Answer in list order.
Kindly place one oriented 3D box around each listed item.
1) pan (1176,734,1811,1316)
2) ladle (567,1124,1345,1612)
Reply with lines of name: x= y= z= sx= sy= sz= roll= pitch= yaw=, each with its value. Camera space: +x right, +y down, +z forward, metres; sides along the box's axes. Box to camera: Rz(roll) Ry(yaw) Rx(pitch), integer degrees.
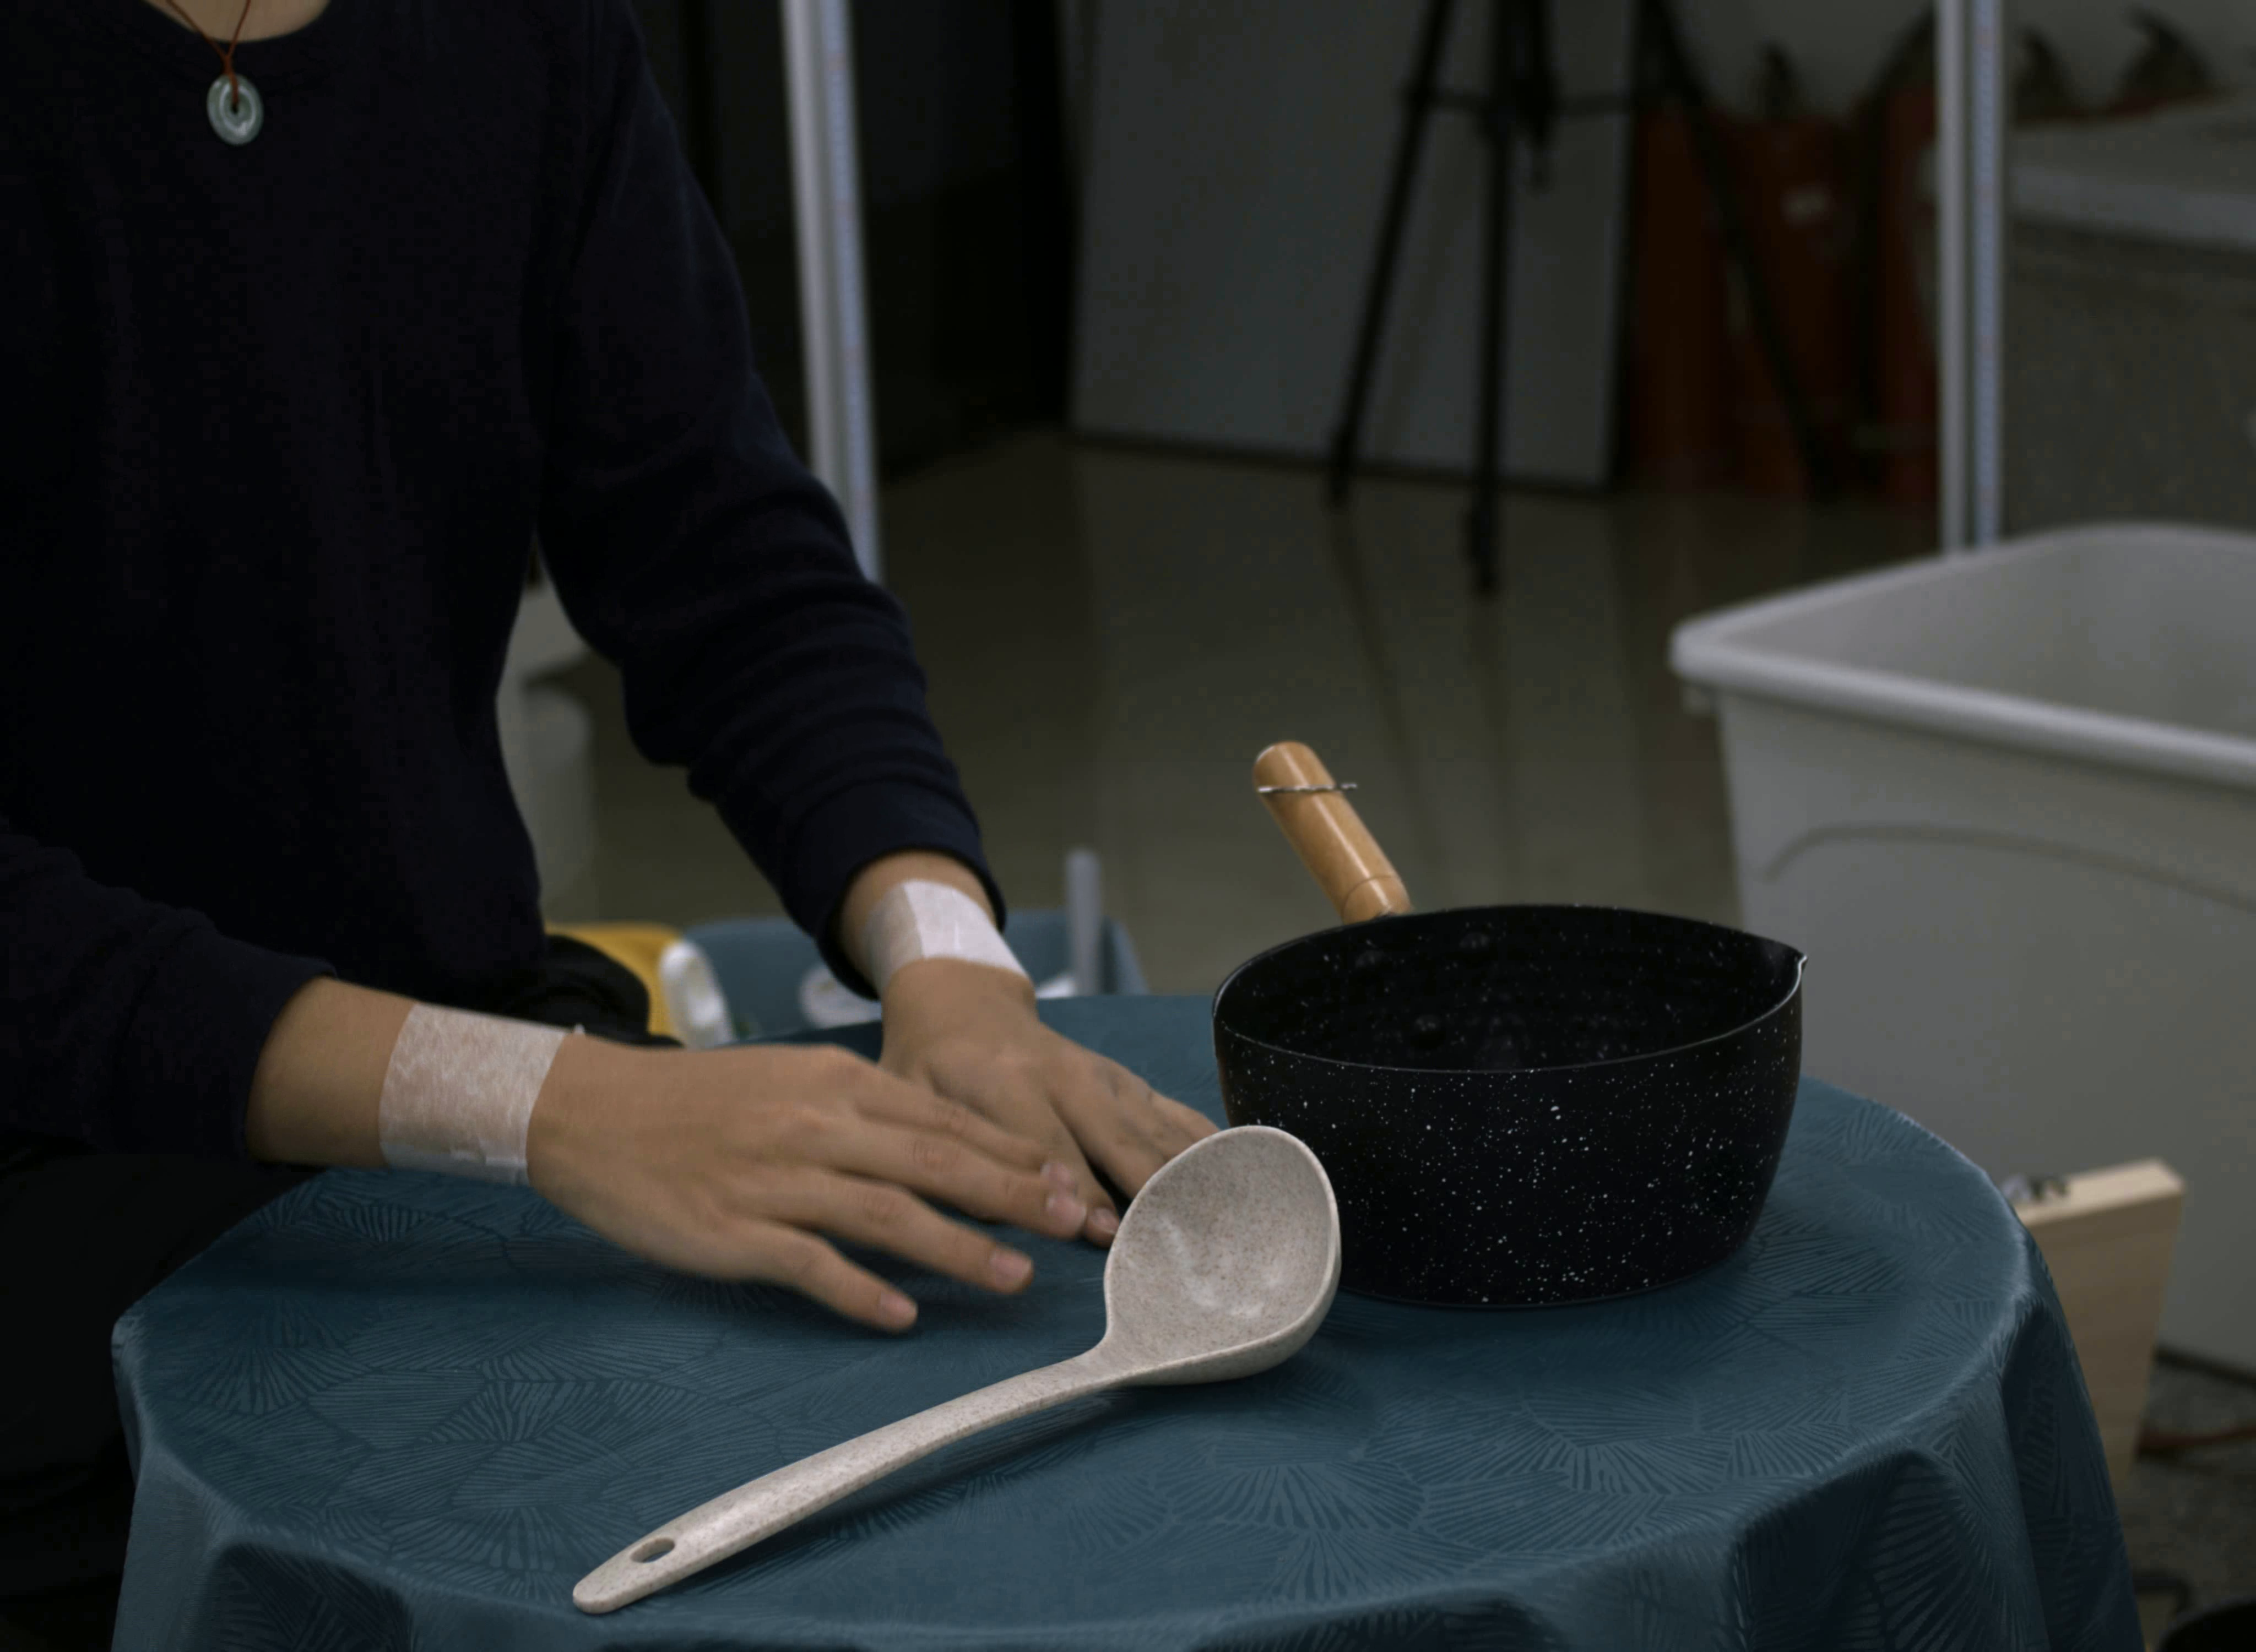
pan: x=0.098 y=0.060 z=1.763 sx=0.203 sy=0.109 sz=0.345 roll=-9 pitch=16 yaw=-14
ladle: x=-0.049 y=0.149 z=1.525 sx=0.269 sy=0.070 sz=0.090 roll=-15 pitch=23 yaw=-40
